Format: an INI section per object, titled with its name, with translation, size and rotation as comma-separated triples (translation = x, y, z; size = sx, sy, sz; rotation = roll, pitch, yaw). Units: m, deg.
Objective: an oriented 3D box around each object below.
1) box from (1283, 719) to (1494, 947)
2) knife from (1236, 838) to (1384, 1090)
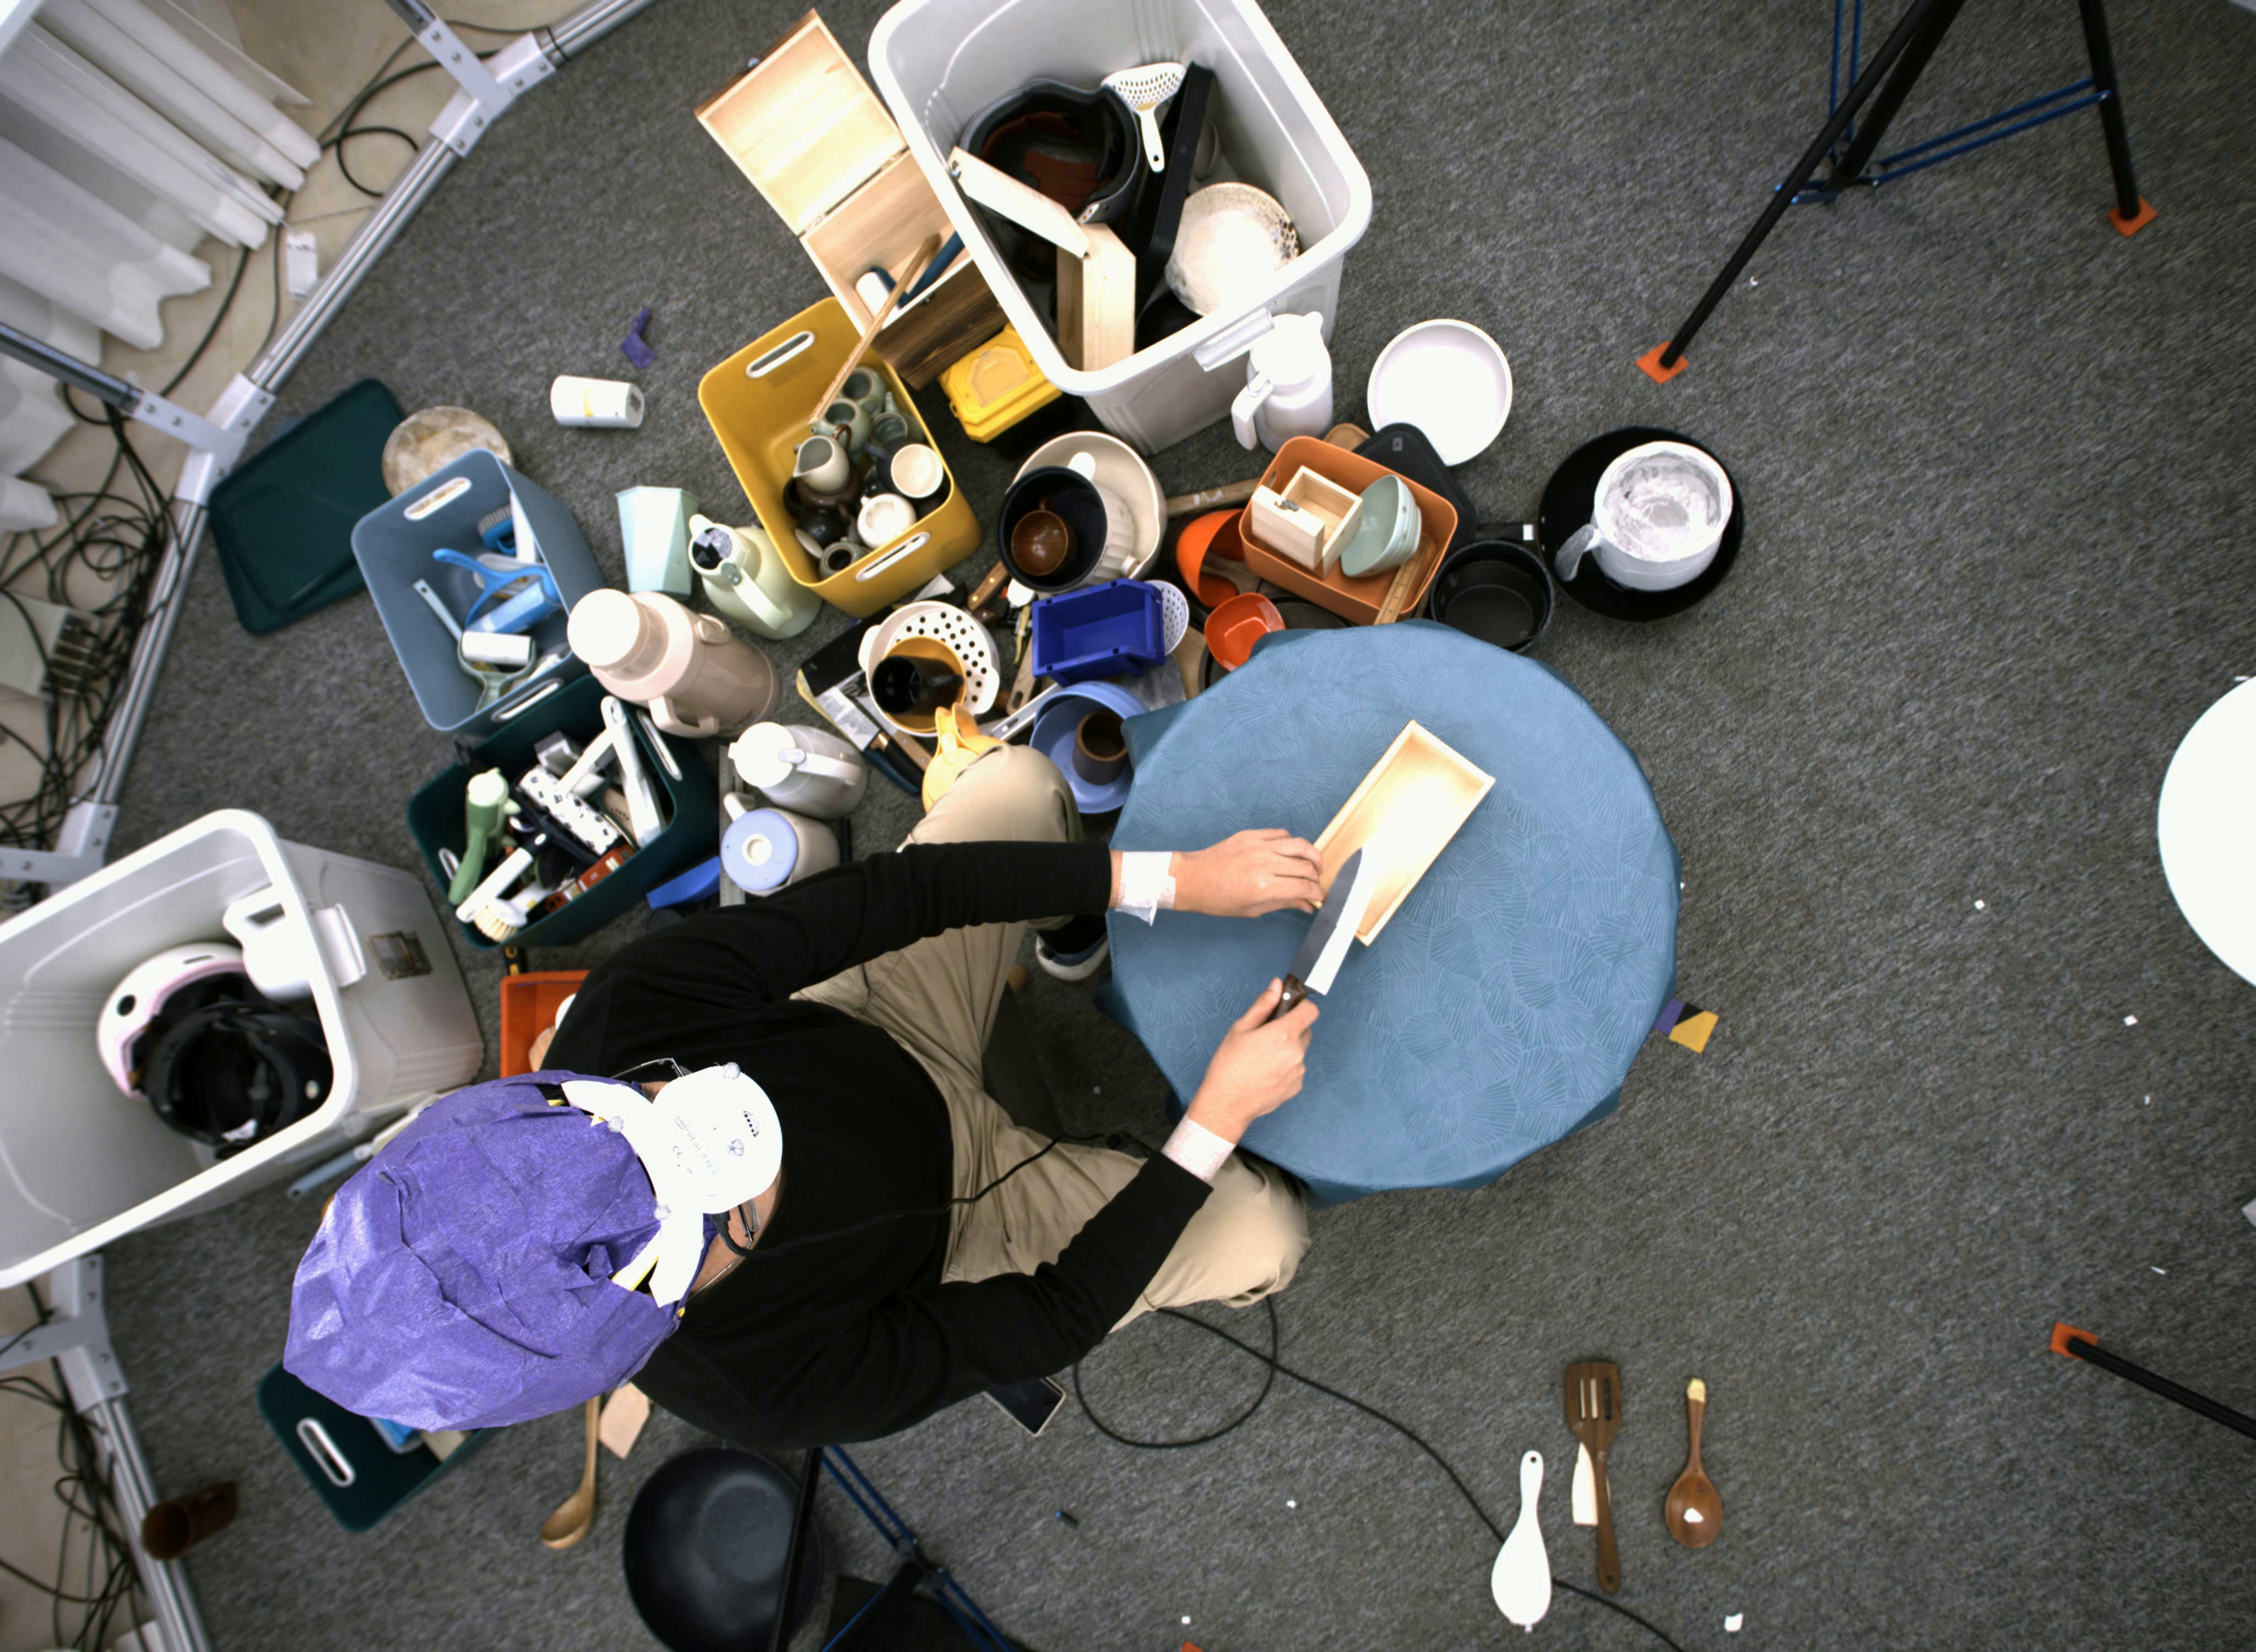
[box]
translation = 0.268, 0.008, 1.424
size = 0.107, 0.080, 0.212
rotation = 38, 93, 11
[knife]
translation = 0.183, 0.137, 1.382
size = 0.050, 0.020, 0.289
rotation = 29, 90, 25
